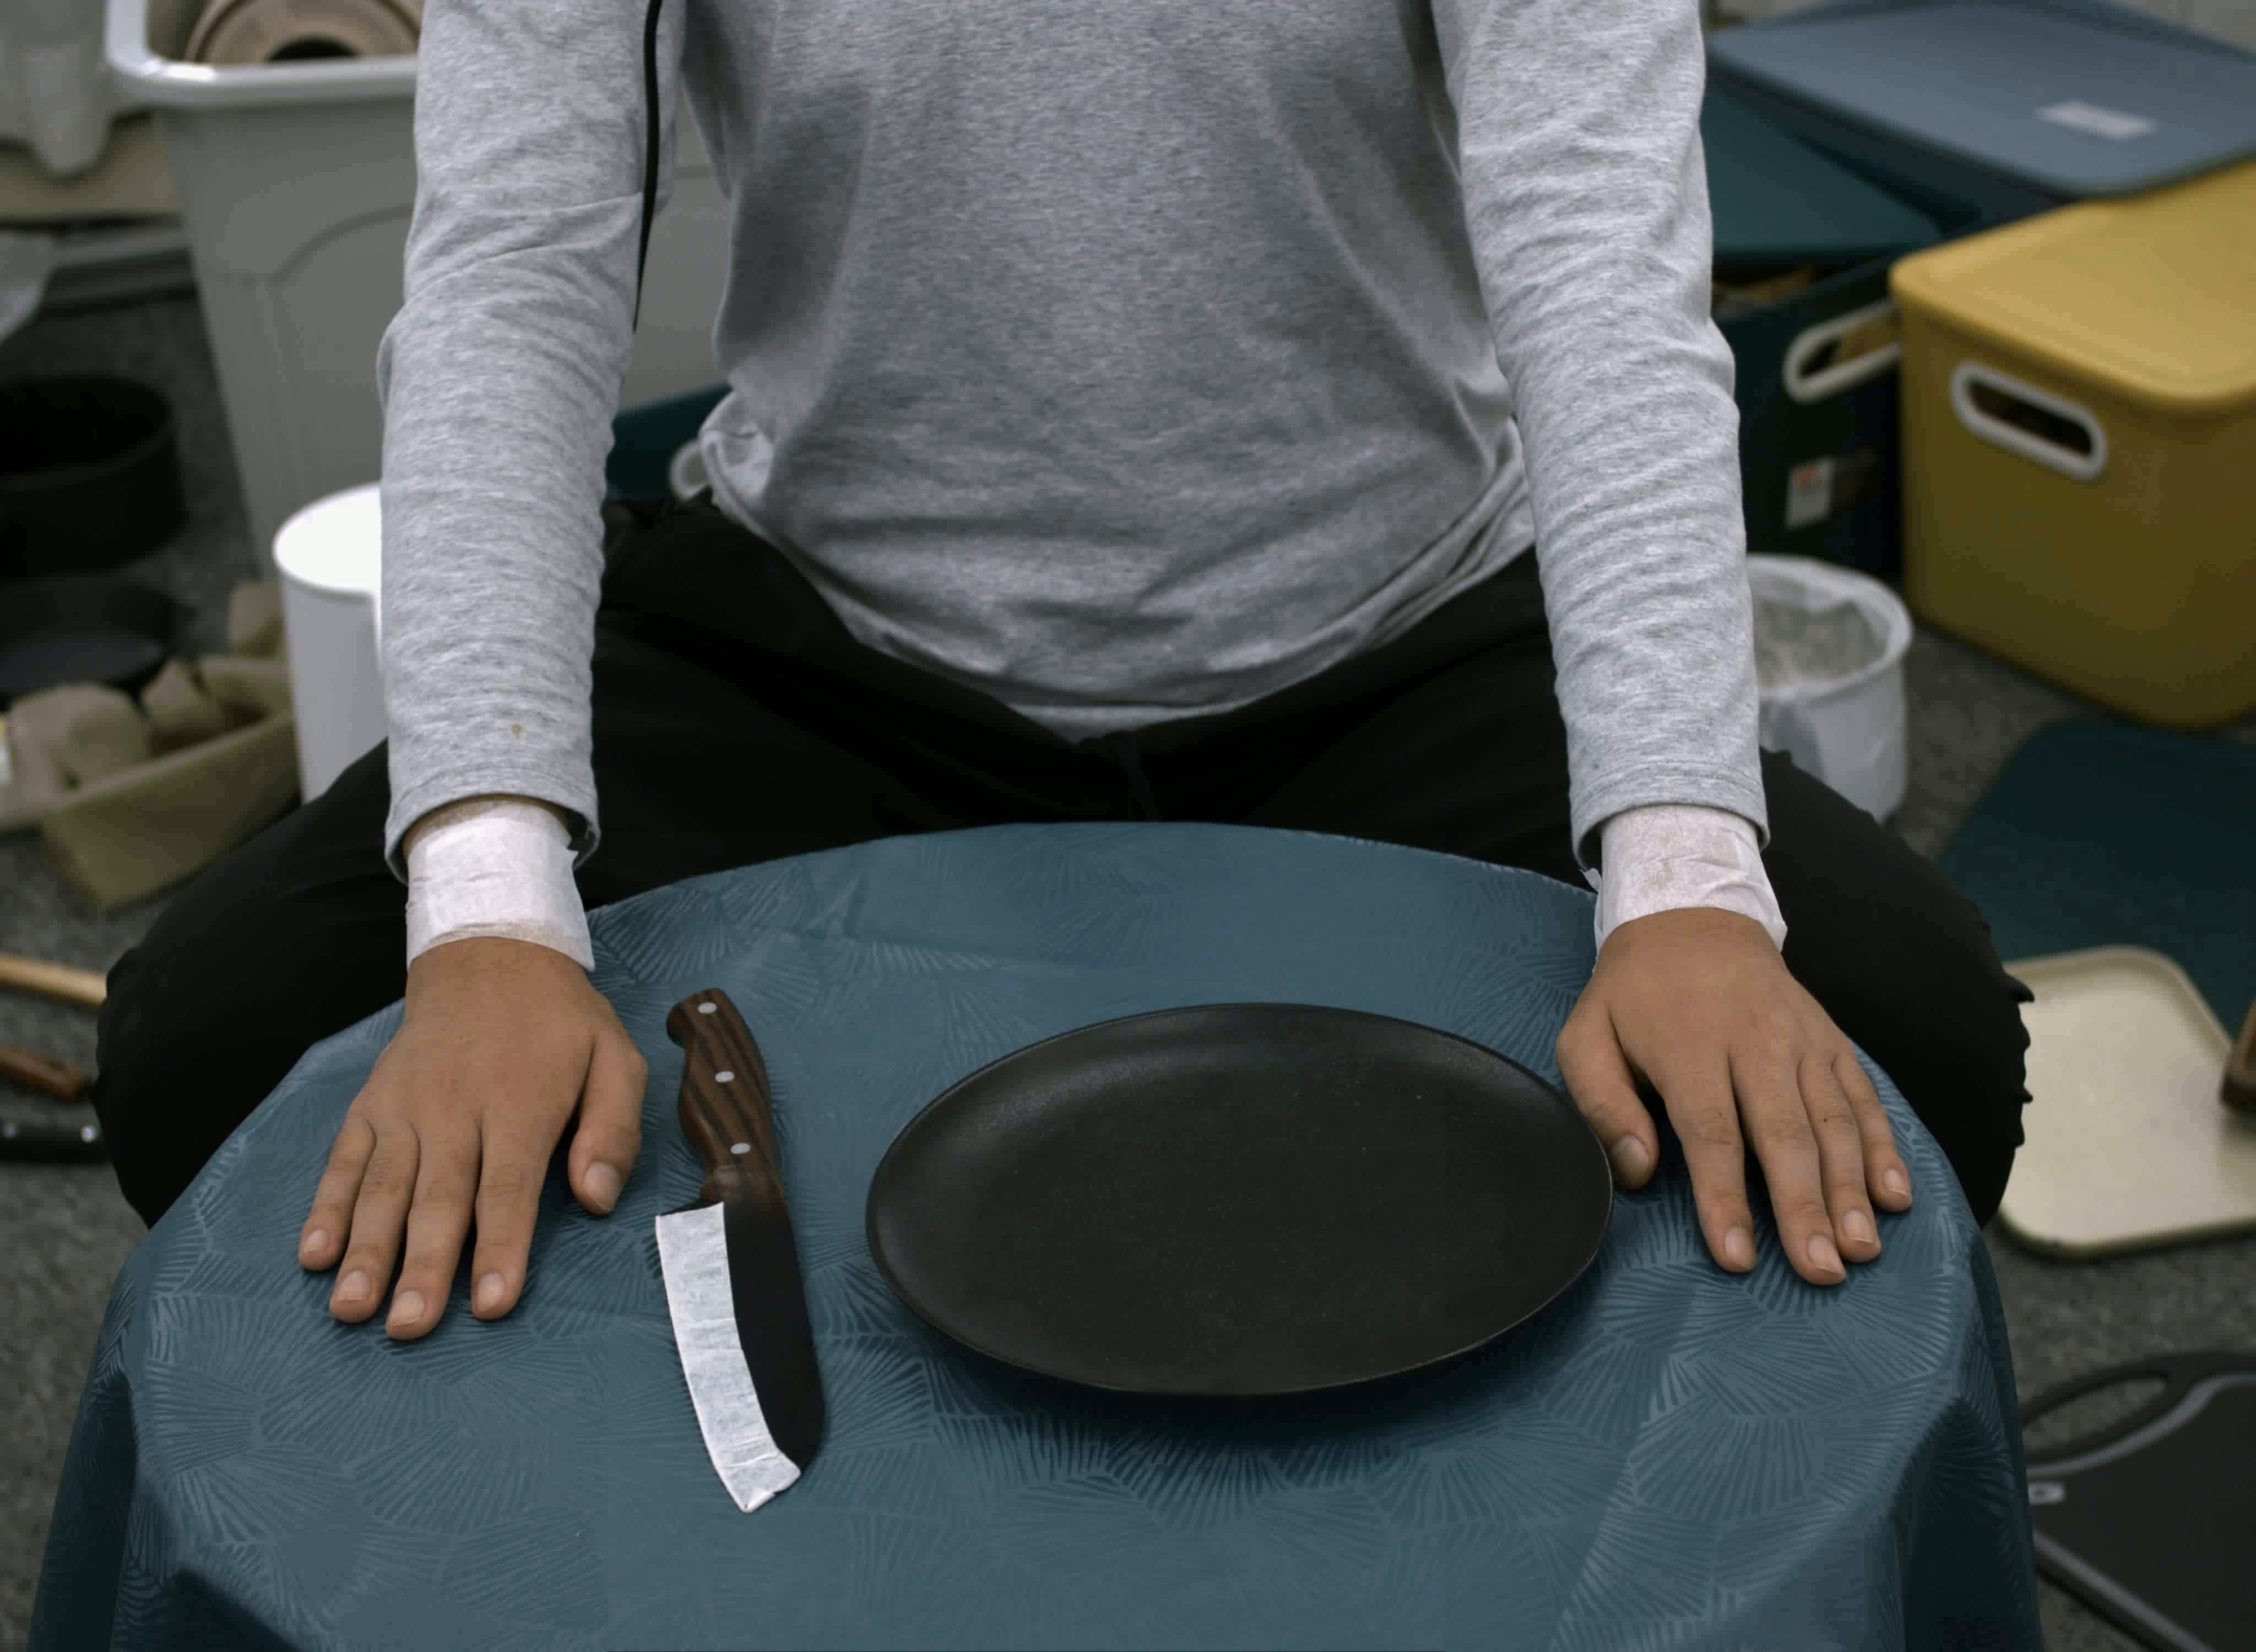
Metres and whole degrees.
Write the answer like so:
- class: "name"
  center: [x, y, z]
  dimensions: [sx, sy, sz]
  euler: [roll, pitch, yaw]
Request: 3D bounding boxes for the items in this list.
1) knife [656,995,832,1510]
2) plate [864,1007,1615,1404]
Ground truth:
- class: "knife"
  center: [-0.129, 0.137, 1.829]
  dimensions: [0.050, 0.020, 0.293]
  euler: [-9, 30, -3]
- class: "plate"
  center: [0.036, 0.127, 1.823]
  dimensions: [0.243, 0.023, 0.248]
  euler: [-2, 27, 1]
